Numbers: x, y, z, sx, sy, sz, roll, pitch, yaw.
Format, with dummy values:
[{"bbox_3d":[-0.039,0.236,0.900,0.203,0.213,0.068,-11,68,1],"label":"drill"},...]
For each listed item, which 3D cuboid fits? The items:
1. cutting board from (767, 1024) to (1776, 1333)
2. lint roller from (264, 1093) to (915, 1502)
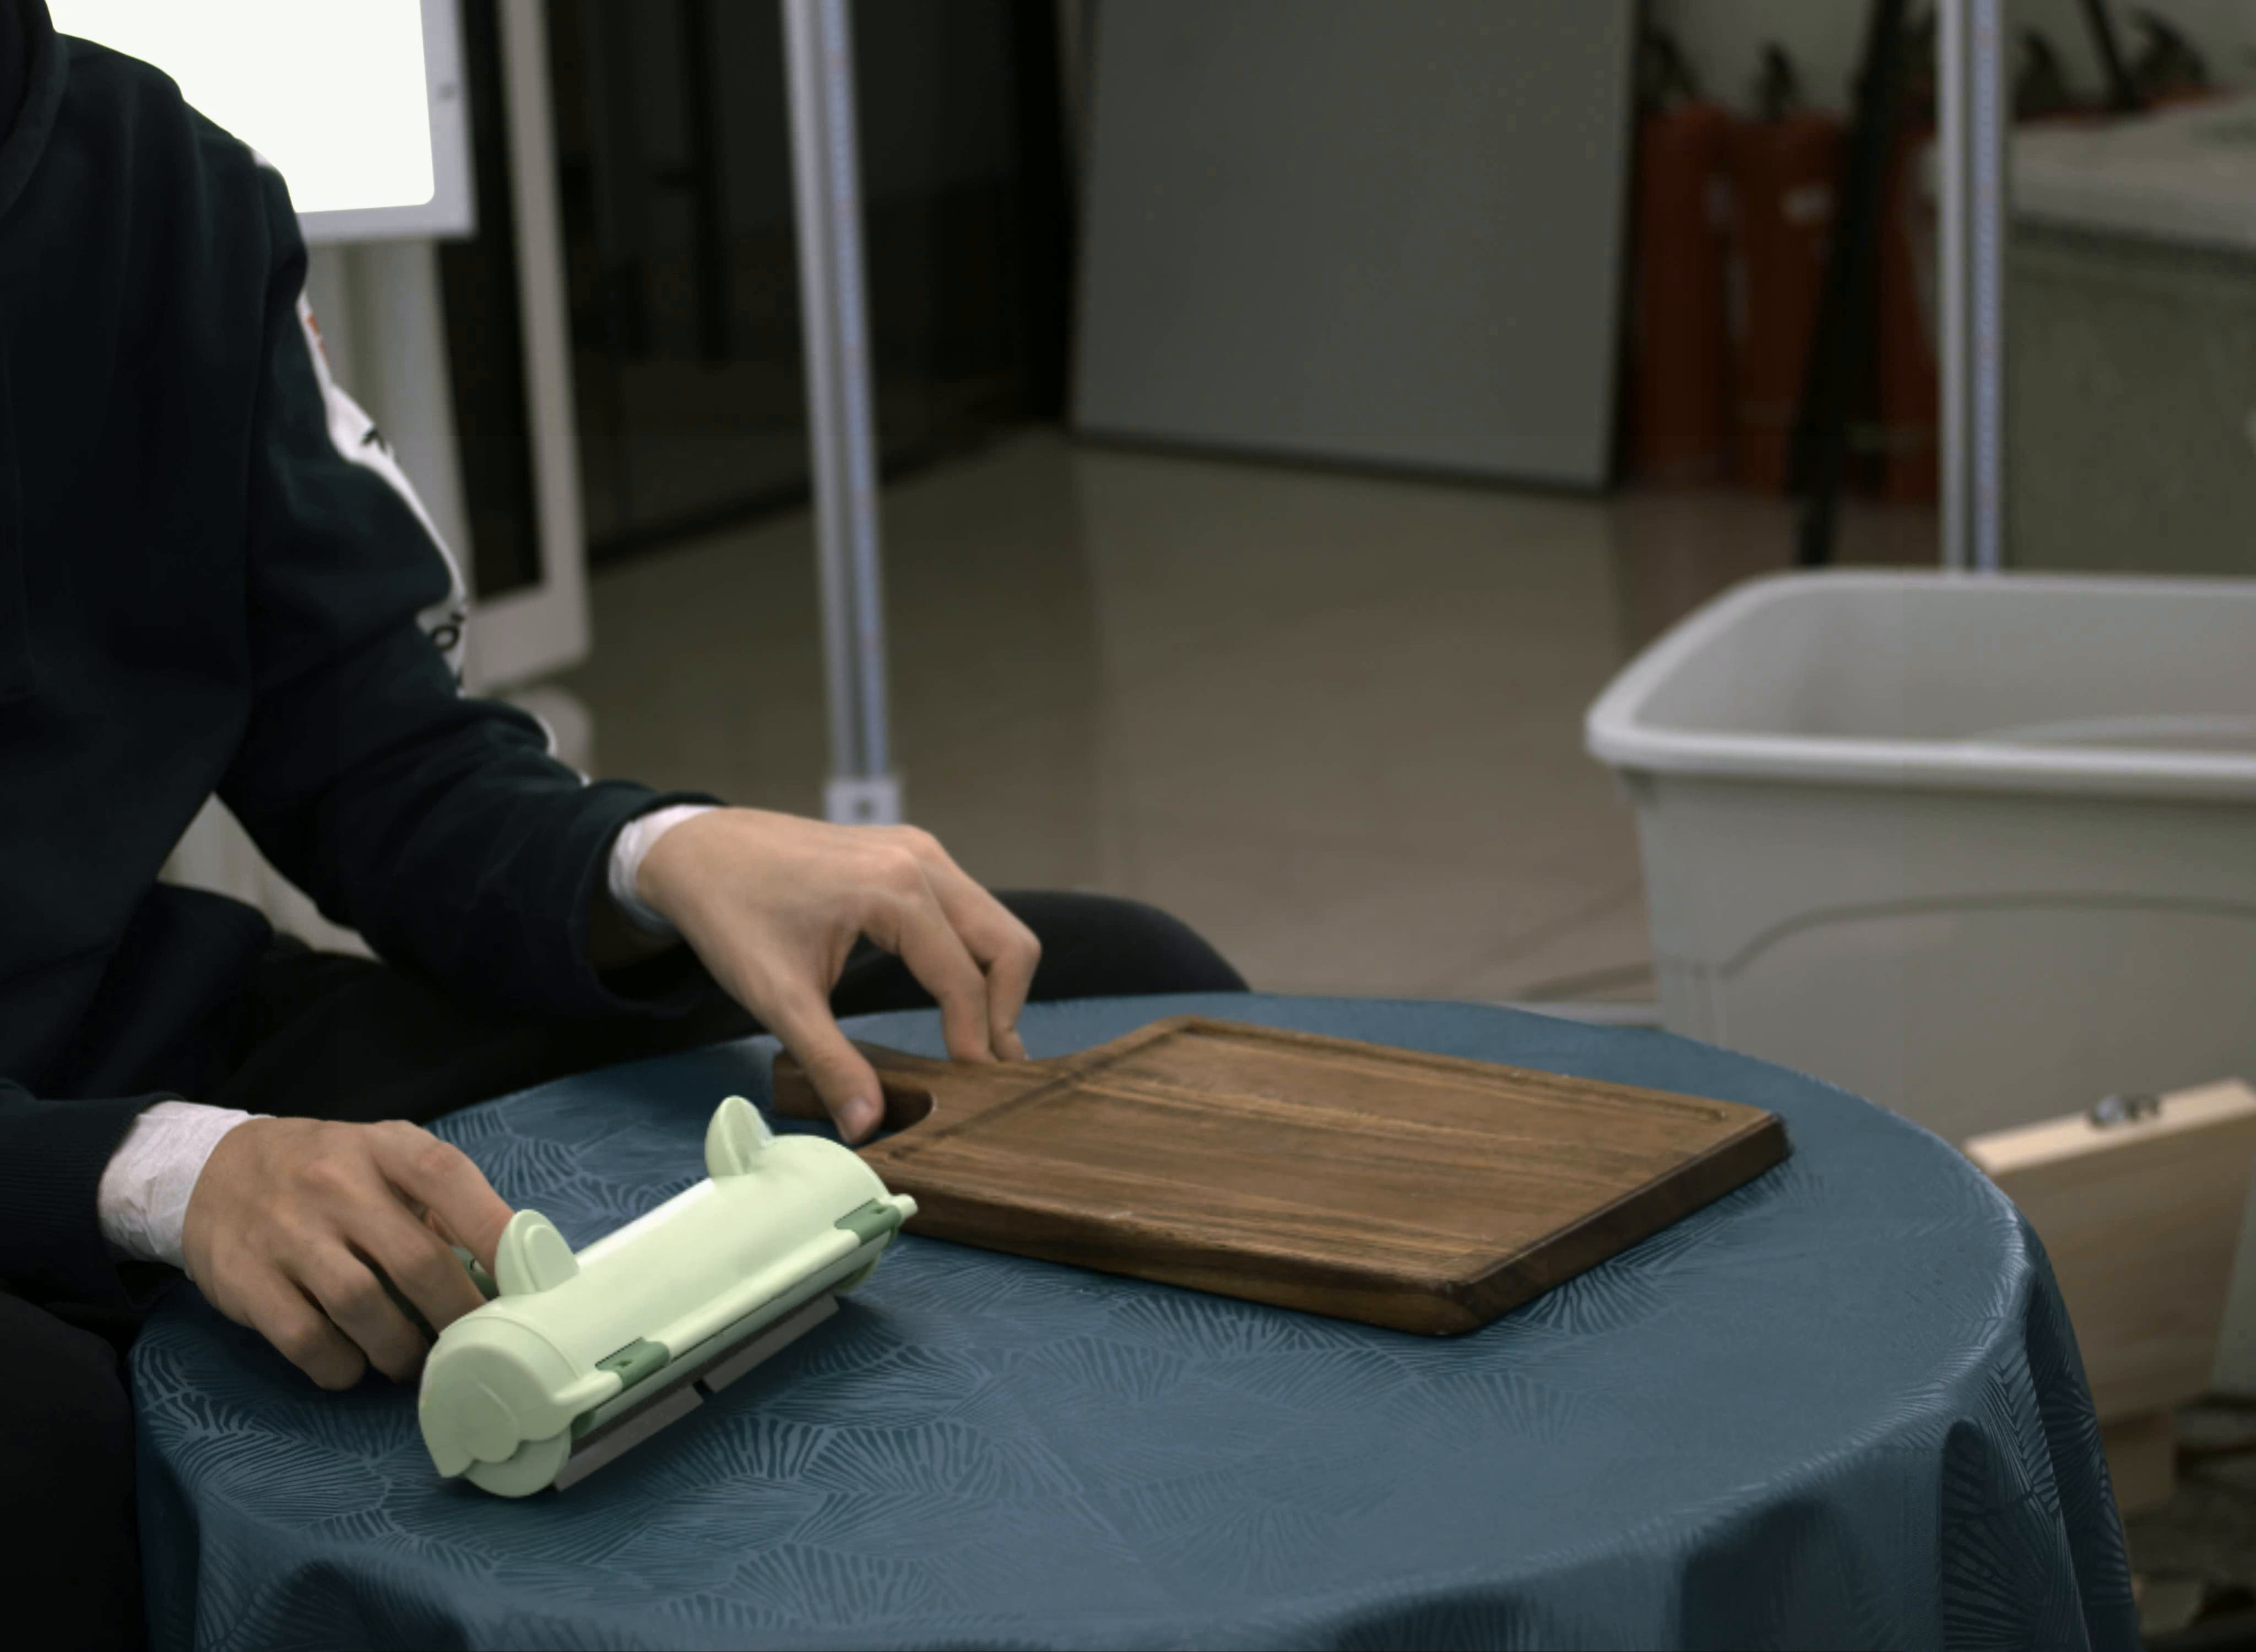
[{"bbox_3d":[0.020,0.106,1.784,0.354,0.023,0.197,6,17,38],"label":"cutting board"},{"bbox_3d":[-0.186,0.130,1.630,0.184,0.083,0.196,8,18,27],"label":"lint roller"}]
